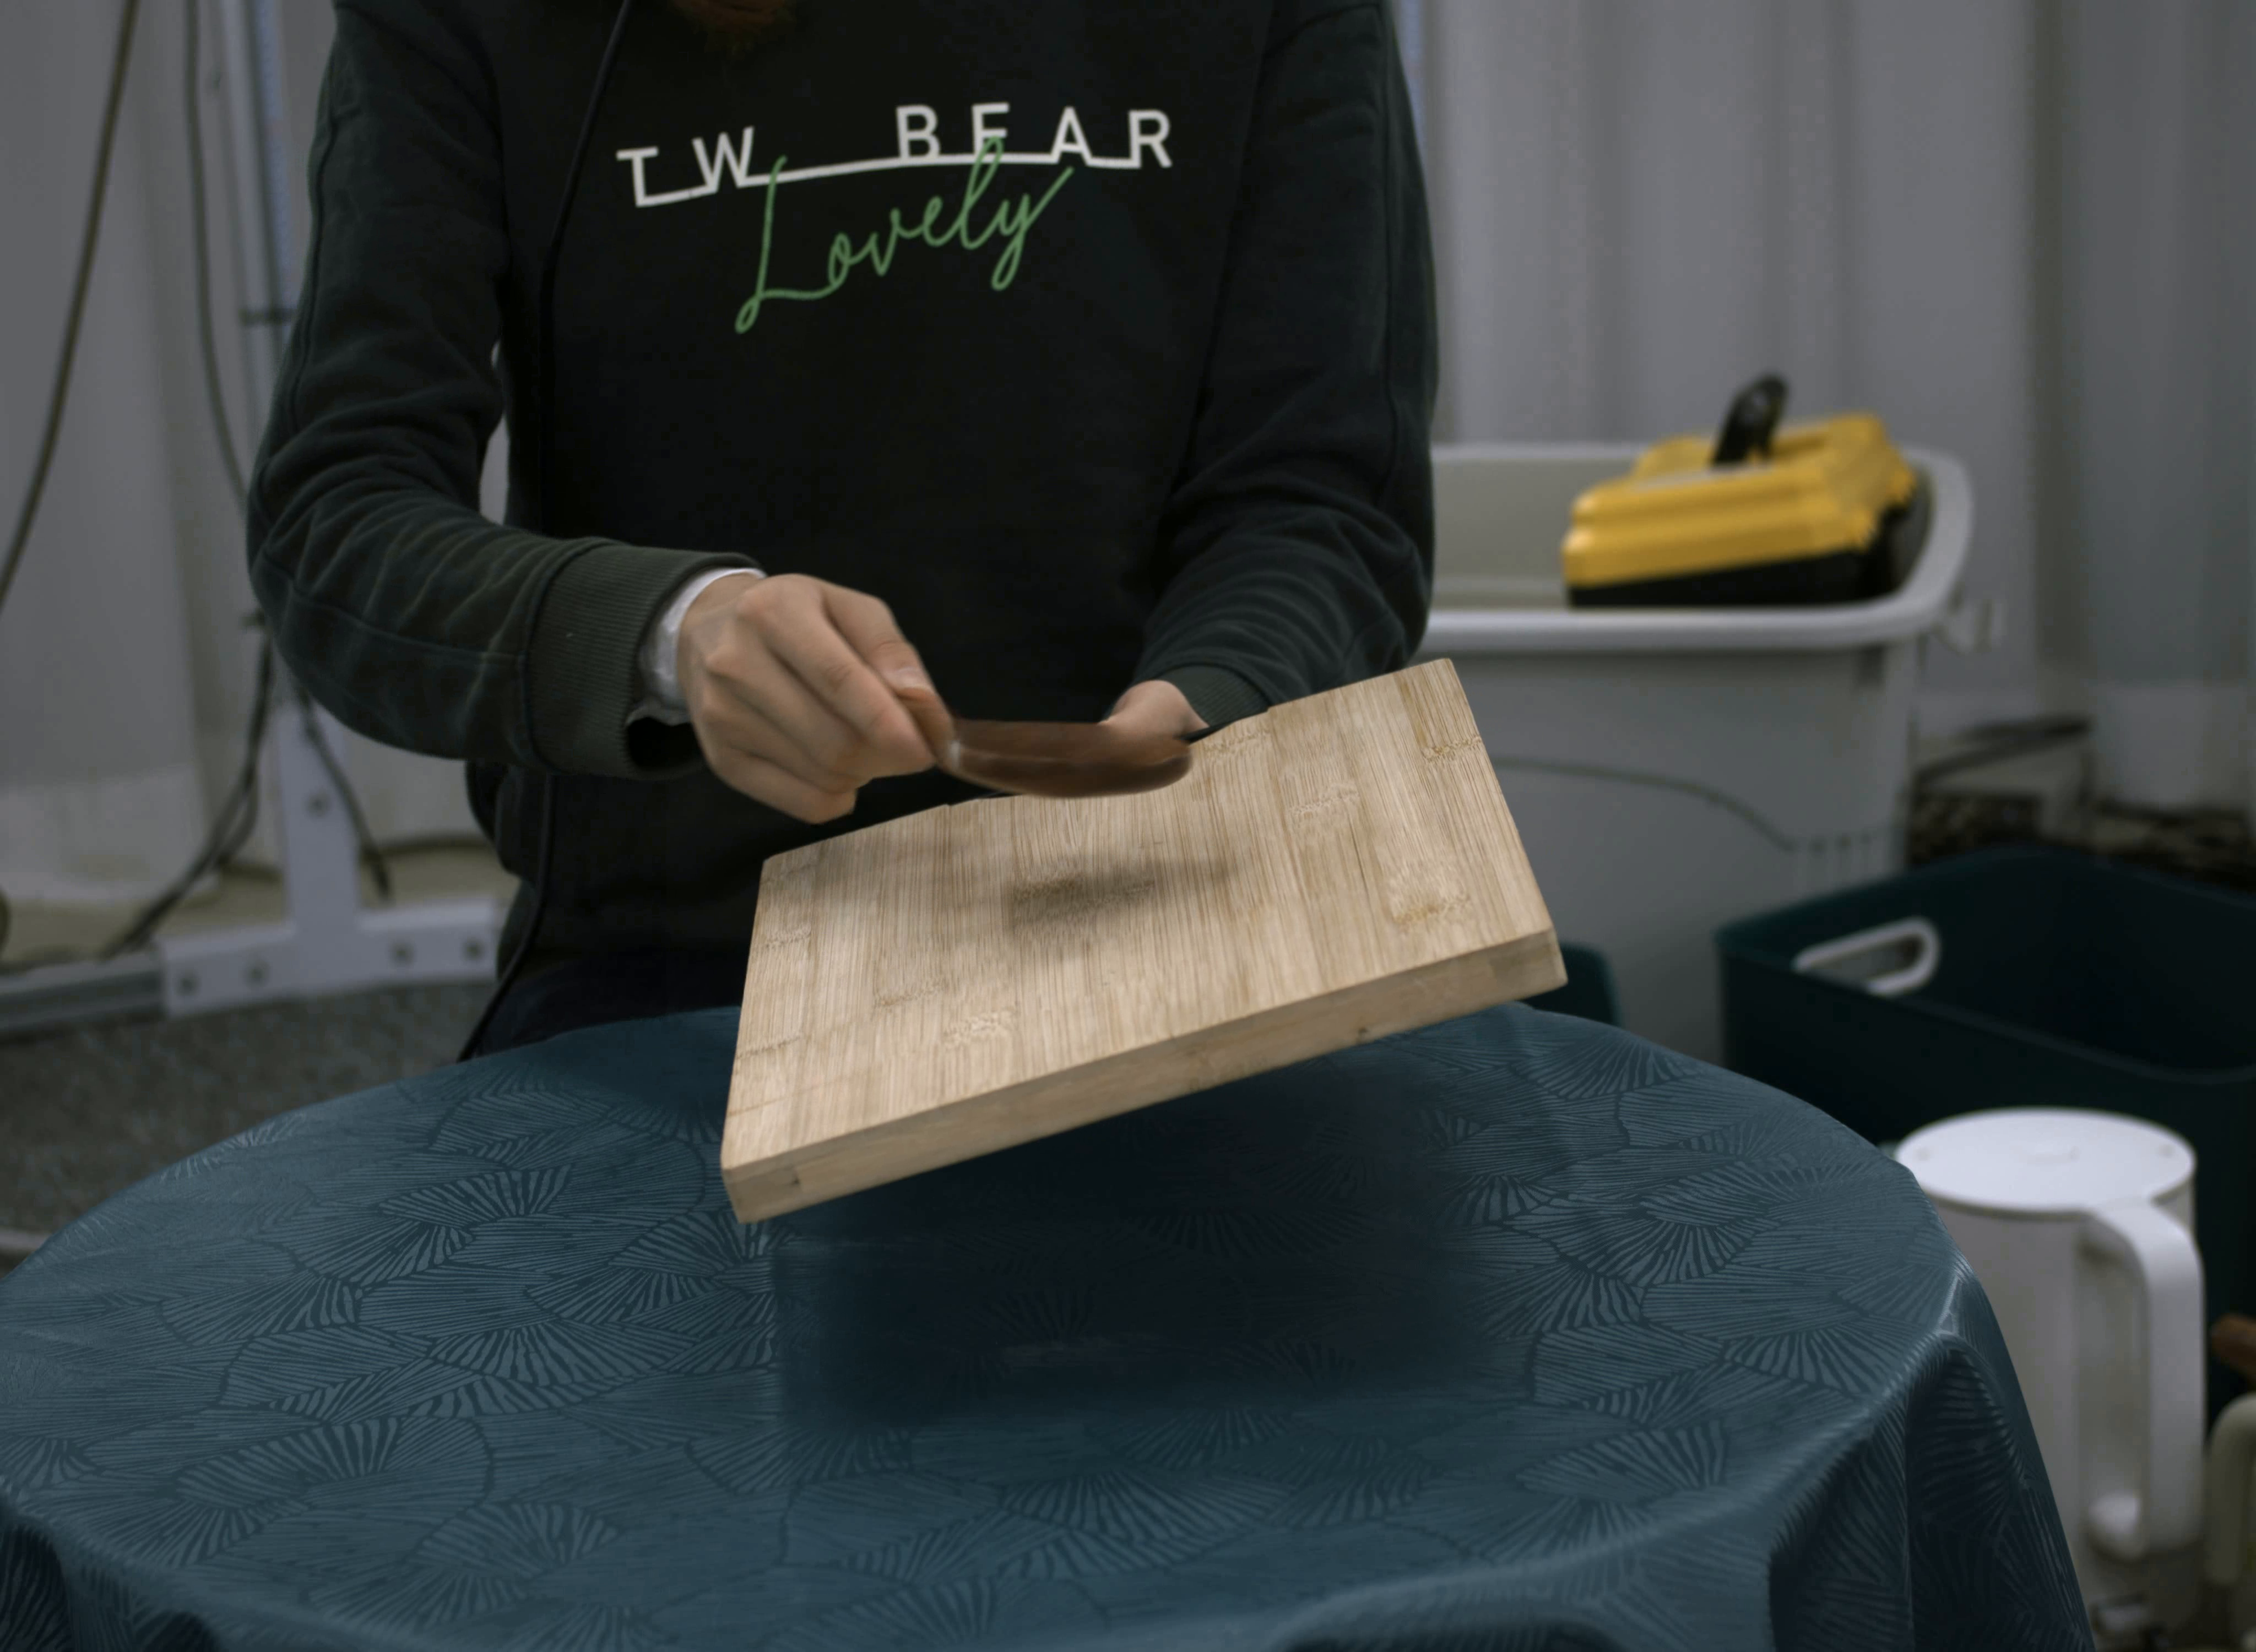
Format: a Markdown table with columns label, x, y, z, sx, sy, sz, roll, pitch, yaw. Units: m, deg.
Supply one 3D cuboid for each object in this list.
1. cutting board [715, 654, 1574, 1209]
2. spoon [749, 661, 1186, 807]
| label | x | y | z | sx | sy | sz | roll | pitch | yaw |
| --- | --- | --- | --- | --- | --- | --- | --- | --- | --- |
| cutting board | 0.001 | 0.026 | 1.669 | 0.250 | 0.023 | 0.351 | -16 | 14 | 1 |
| spoon | -0.058 | -0.028 | 1.704 | 0.075 | 0.017 | 0.217 | -7 | 14 | -32 |
